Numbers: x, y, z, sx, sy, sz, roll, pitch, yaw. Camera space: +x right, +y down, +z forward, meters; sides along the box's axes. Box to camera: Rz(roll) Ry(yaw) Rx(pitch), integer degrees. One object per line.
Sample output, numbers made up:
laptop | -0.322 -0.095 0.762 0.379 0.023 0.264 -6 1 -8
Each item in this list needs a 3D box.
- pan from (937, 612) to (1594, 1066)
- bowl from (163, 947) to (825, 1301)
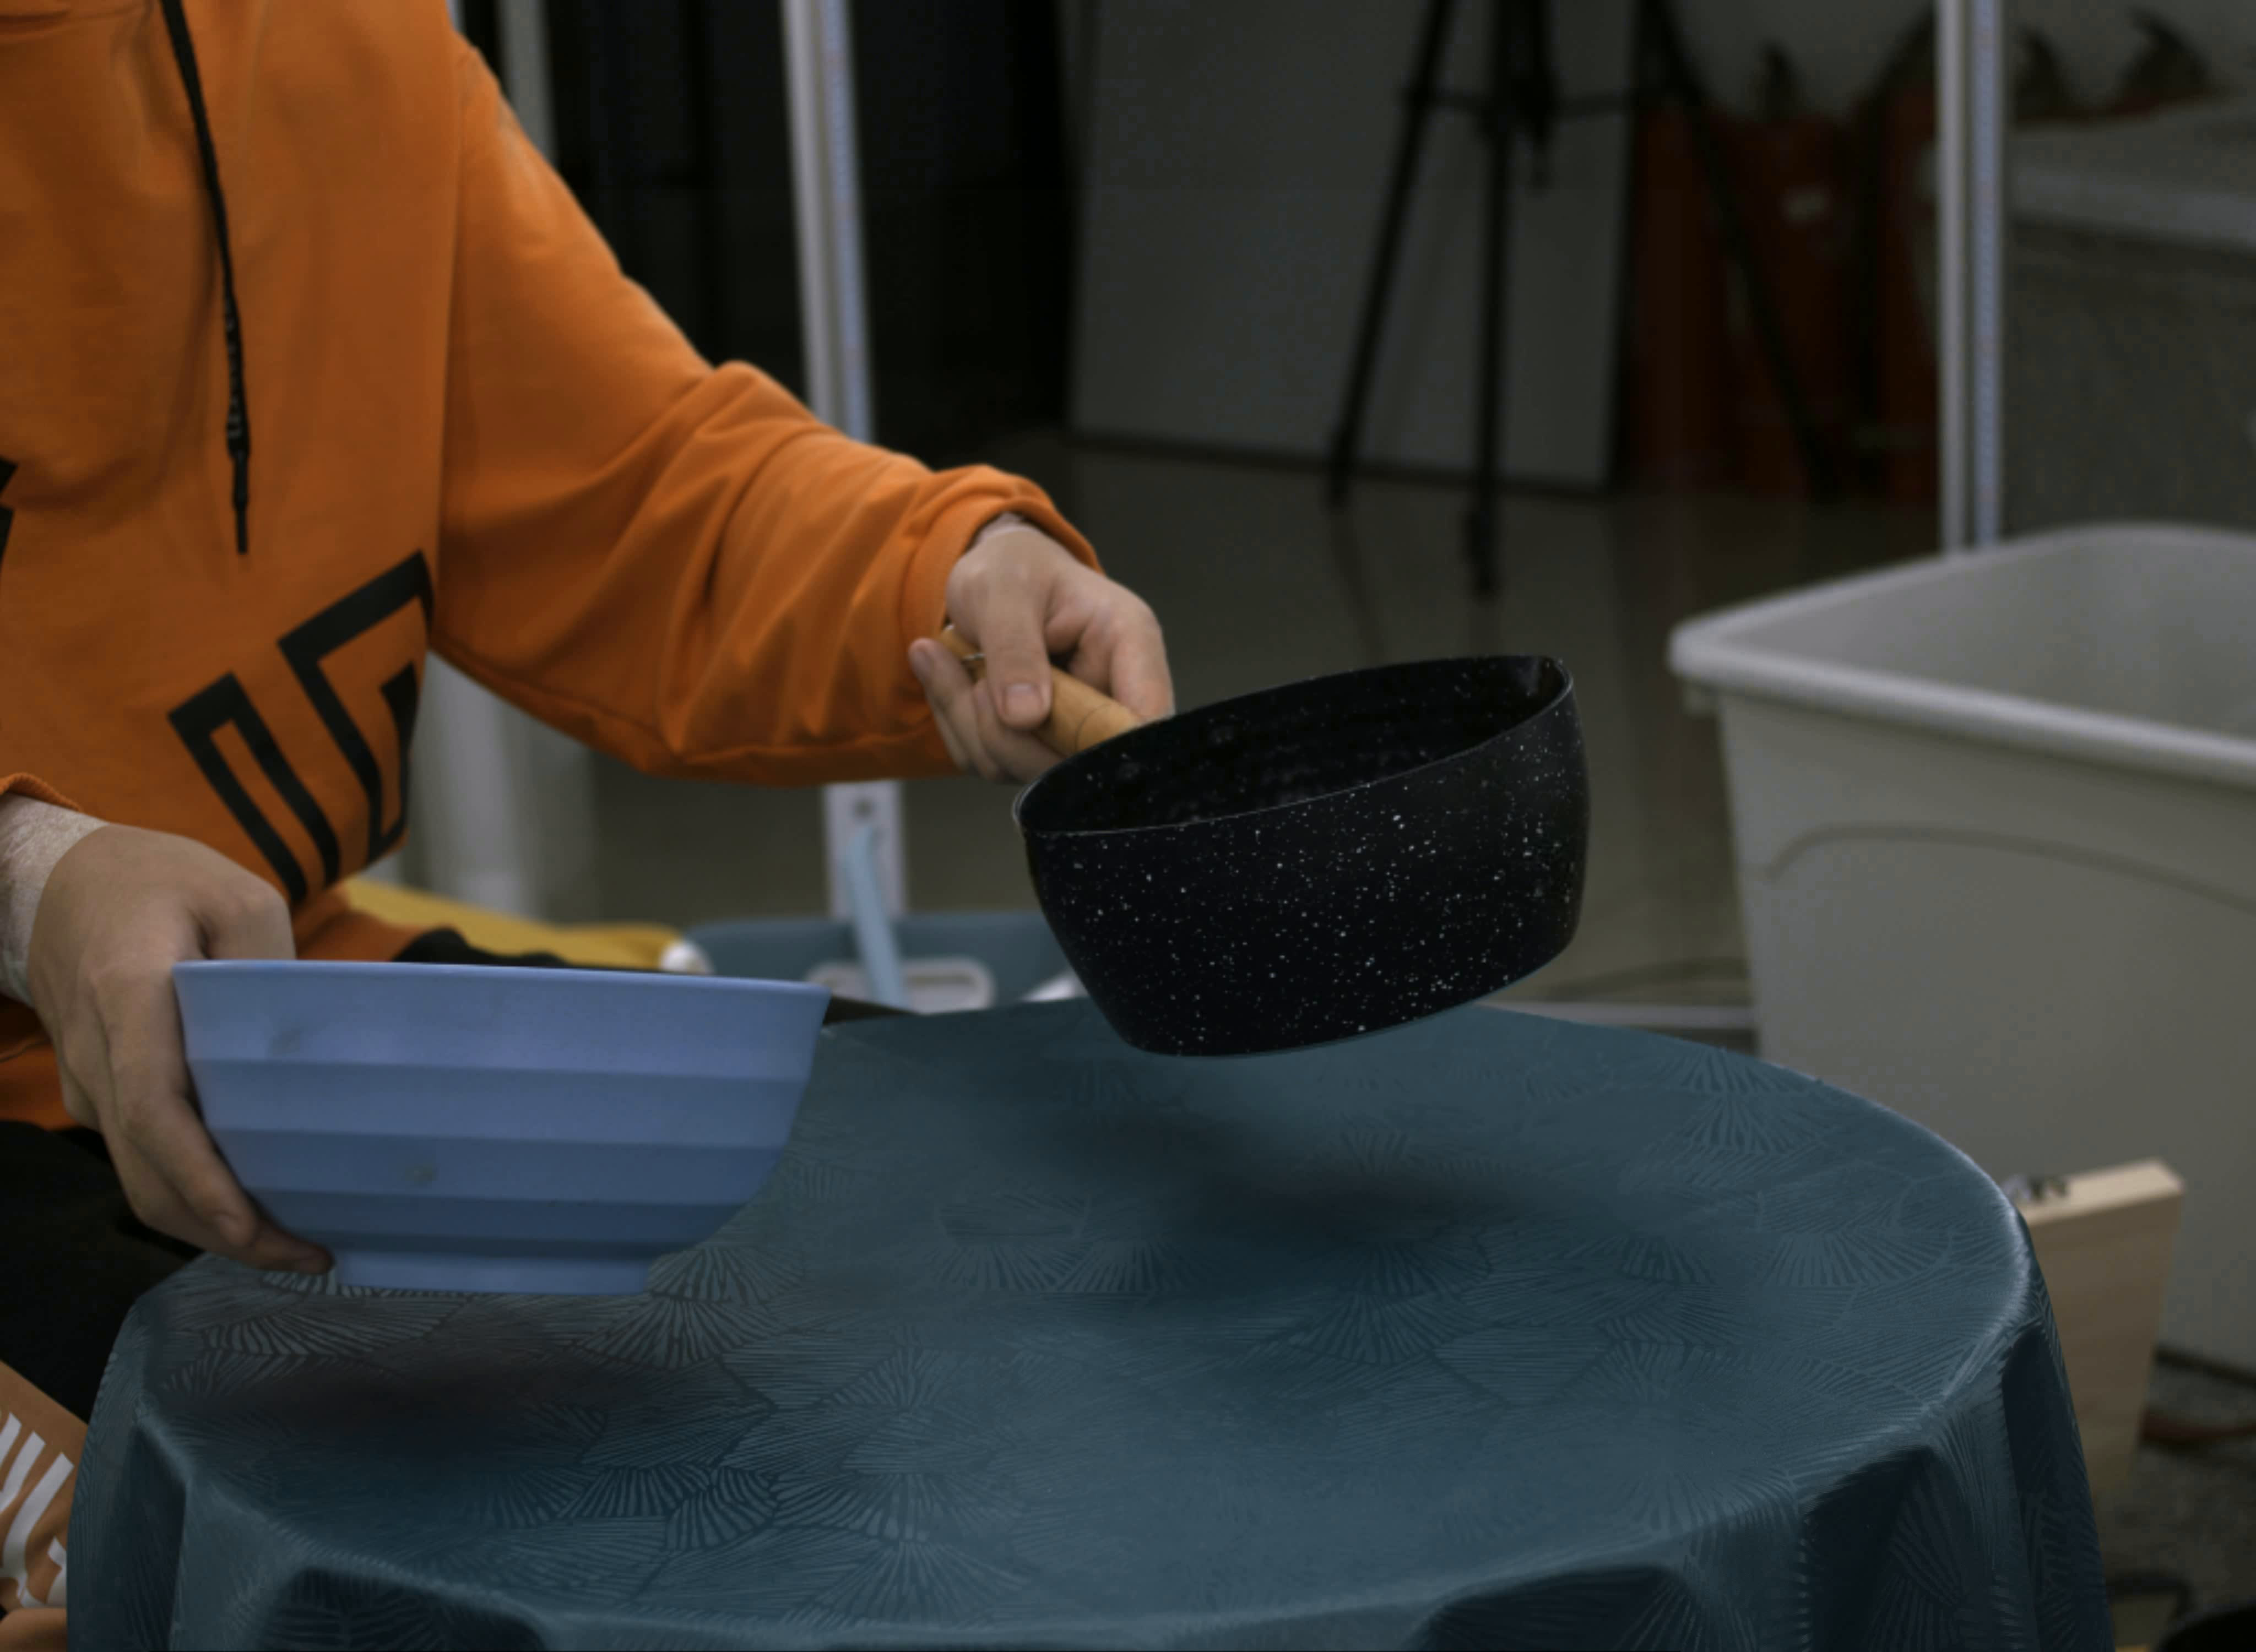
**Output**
pan | 0.023 -0.007 1.788 0.203 0.109 0.346 -21 14 -24
bowl | -0.188 0.090 1.596 0.194 0.096 0.196 3 -5 -1
